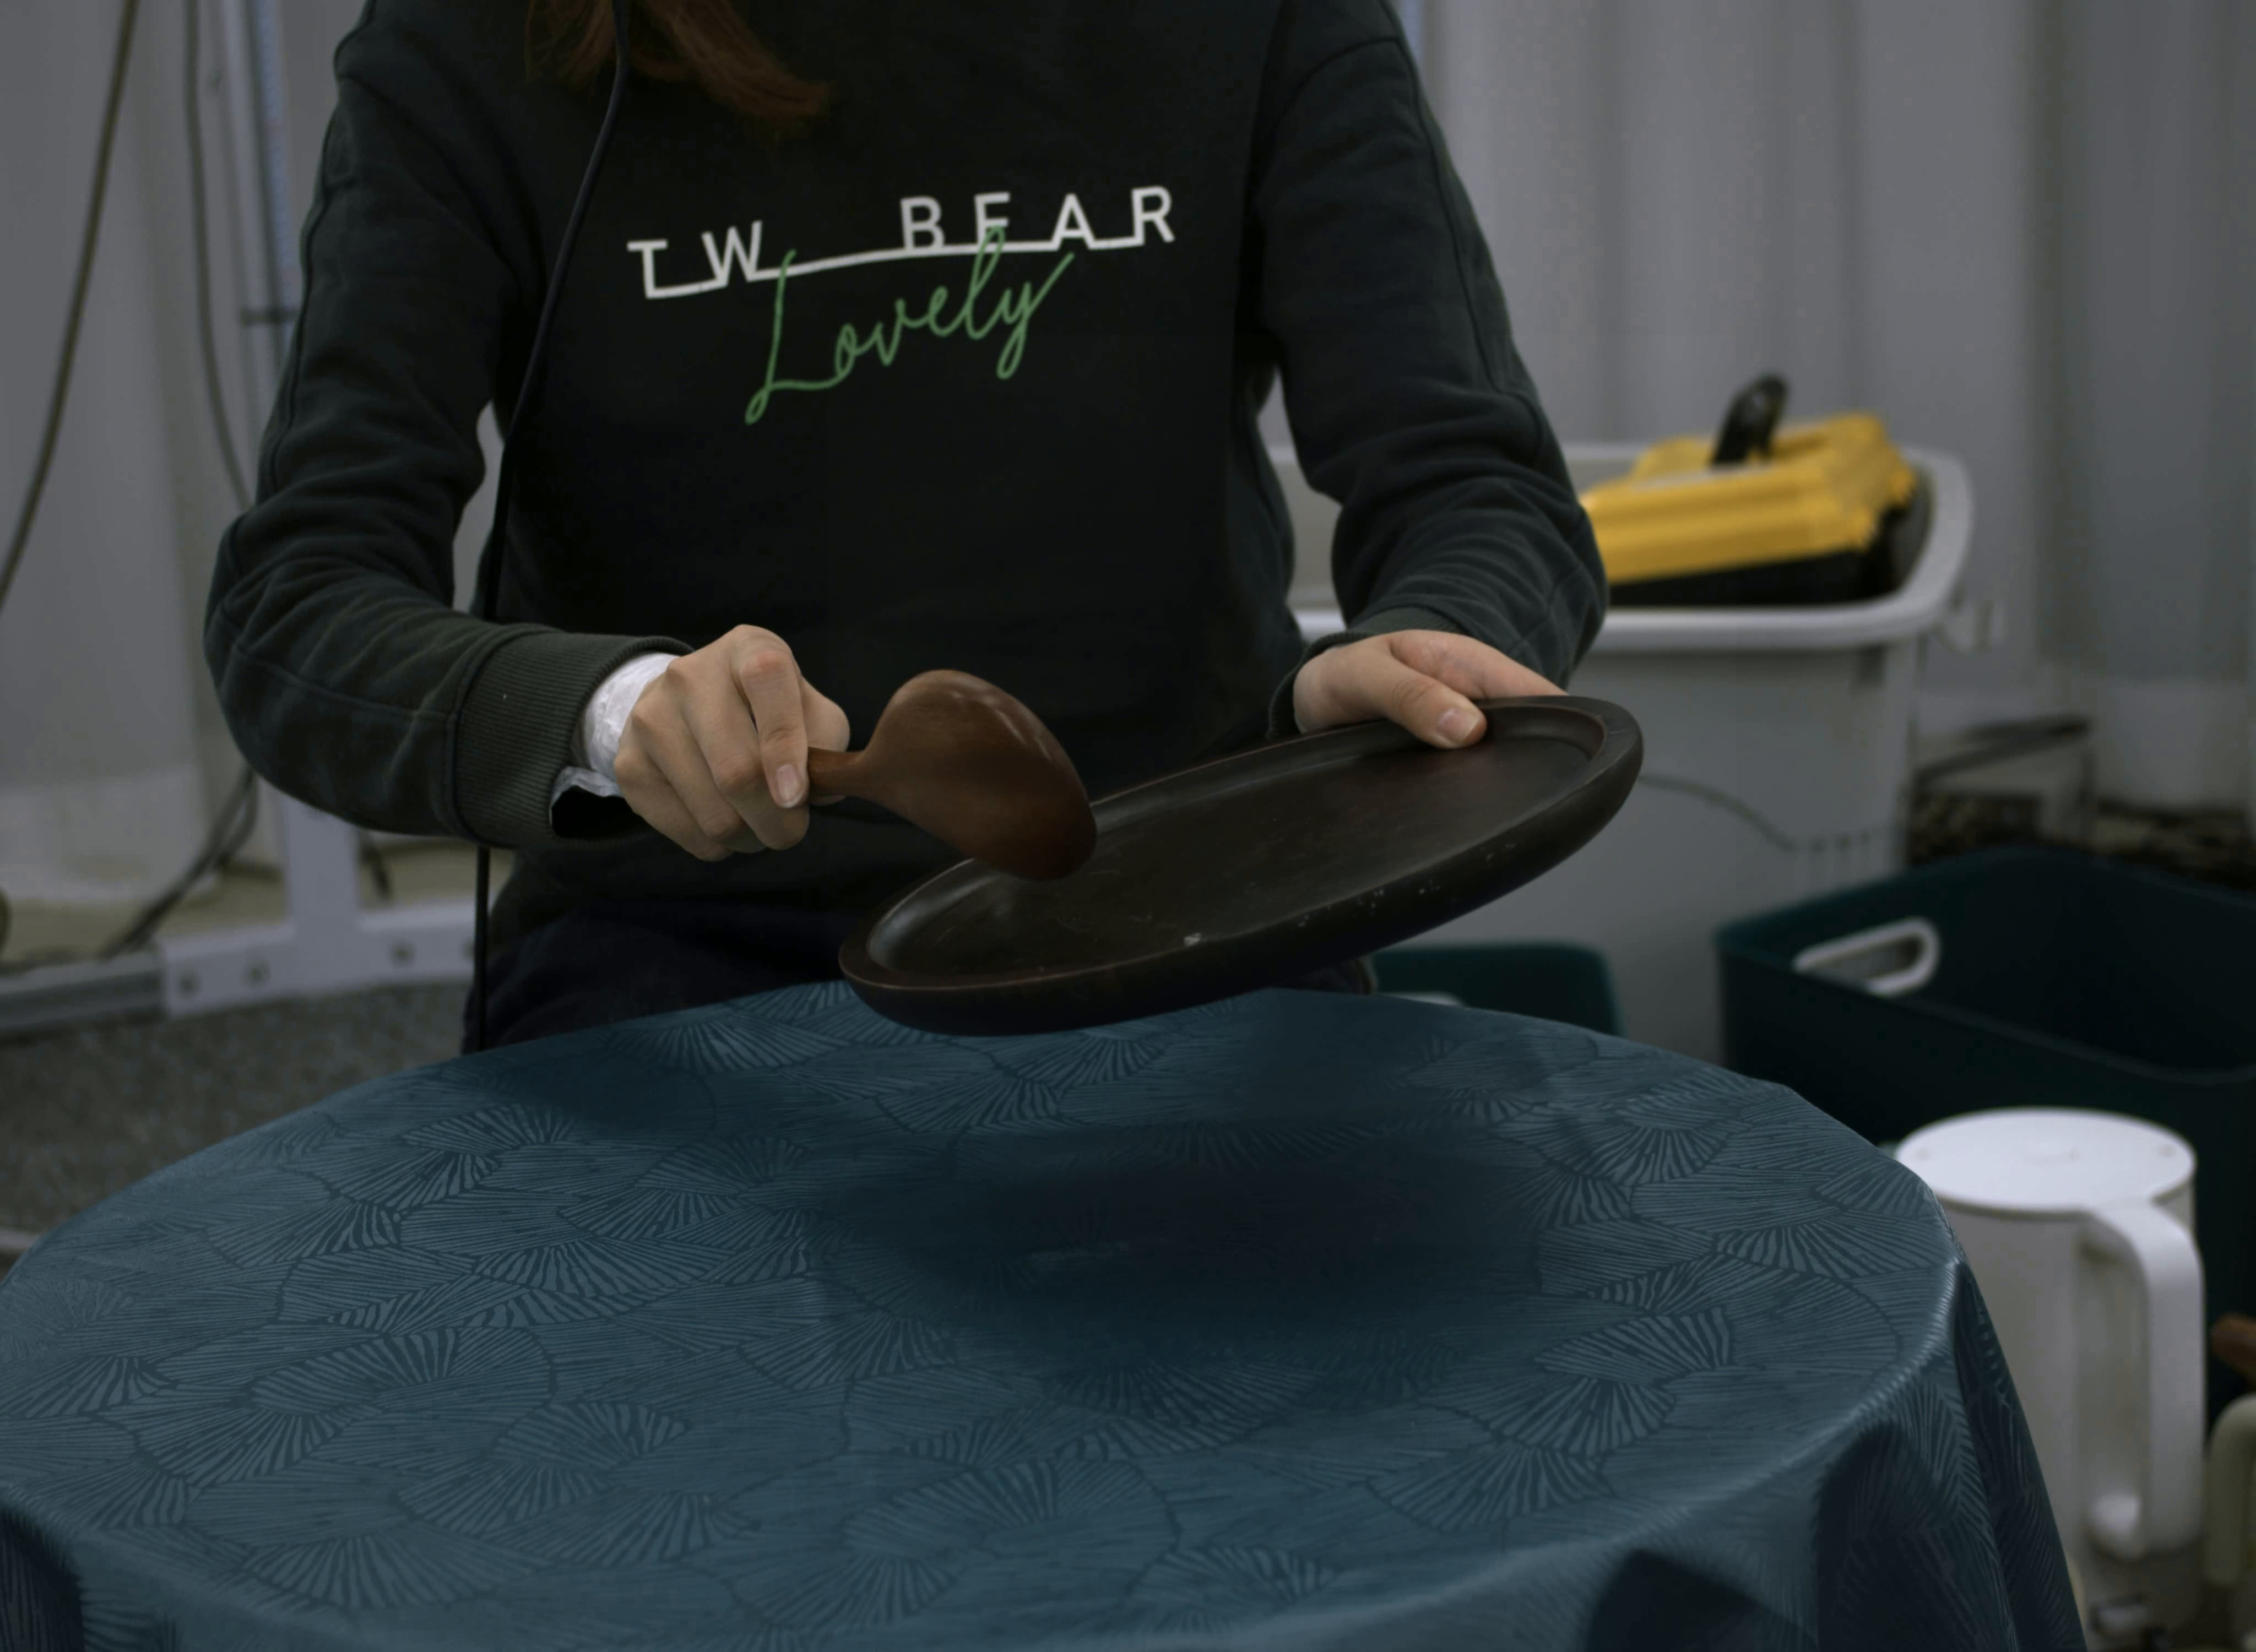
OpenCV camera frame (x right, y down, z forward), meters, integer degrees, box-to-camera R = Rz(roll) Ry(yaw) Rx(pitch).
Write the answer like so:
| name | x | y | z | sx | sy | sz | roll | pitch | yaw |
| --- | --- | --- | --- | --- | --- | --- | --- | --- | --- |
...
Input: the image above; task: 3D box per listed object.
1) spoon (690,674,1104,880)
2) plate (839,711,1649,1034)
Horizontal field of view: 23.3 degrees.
| name | x | y | z | sx | sy | sz | roll | pitch | yaw |
| --- | --- | --- | --- | --- | --- | --- | --- | --- | --- |
| spoon | -0.077 | -0.014 | 1.675 | 0.017 | 0.075 | 0.216 | -40 | 22 | -25 |
| plate | 0.036 | 0.012 | 1.657 | 0.254 | 0.029 | 0.256 | -15 | 12 | 3 |
